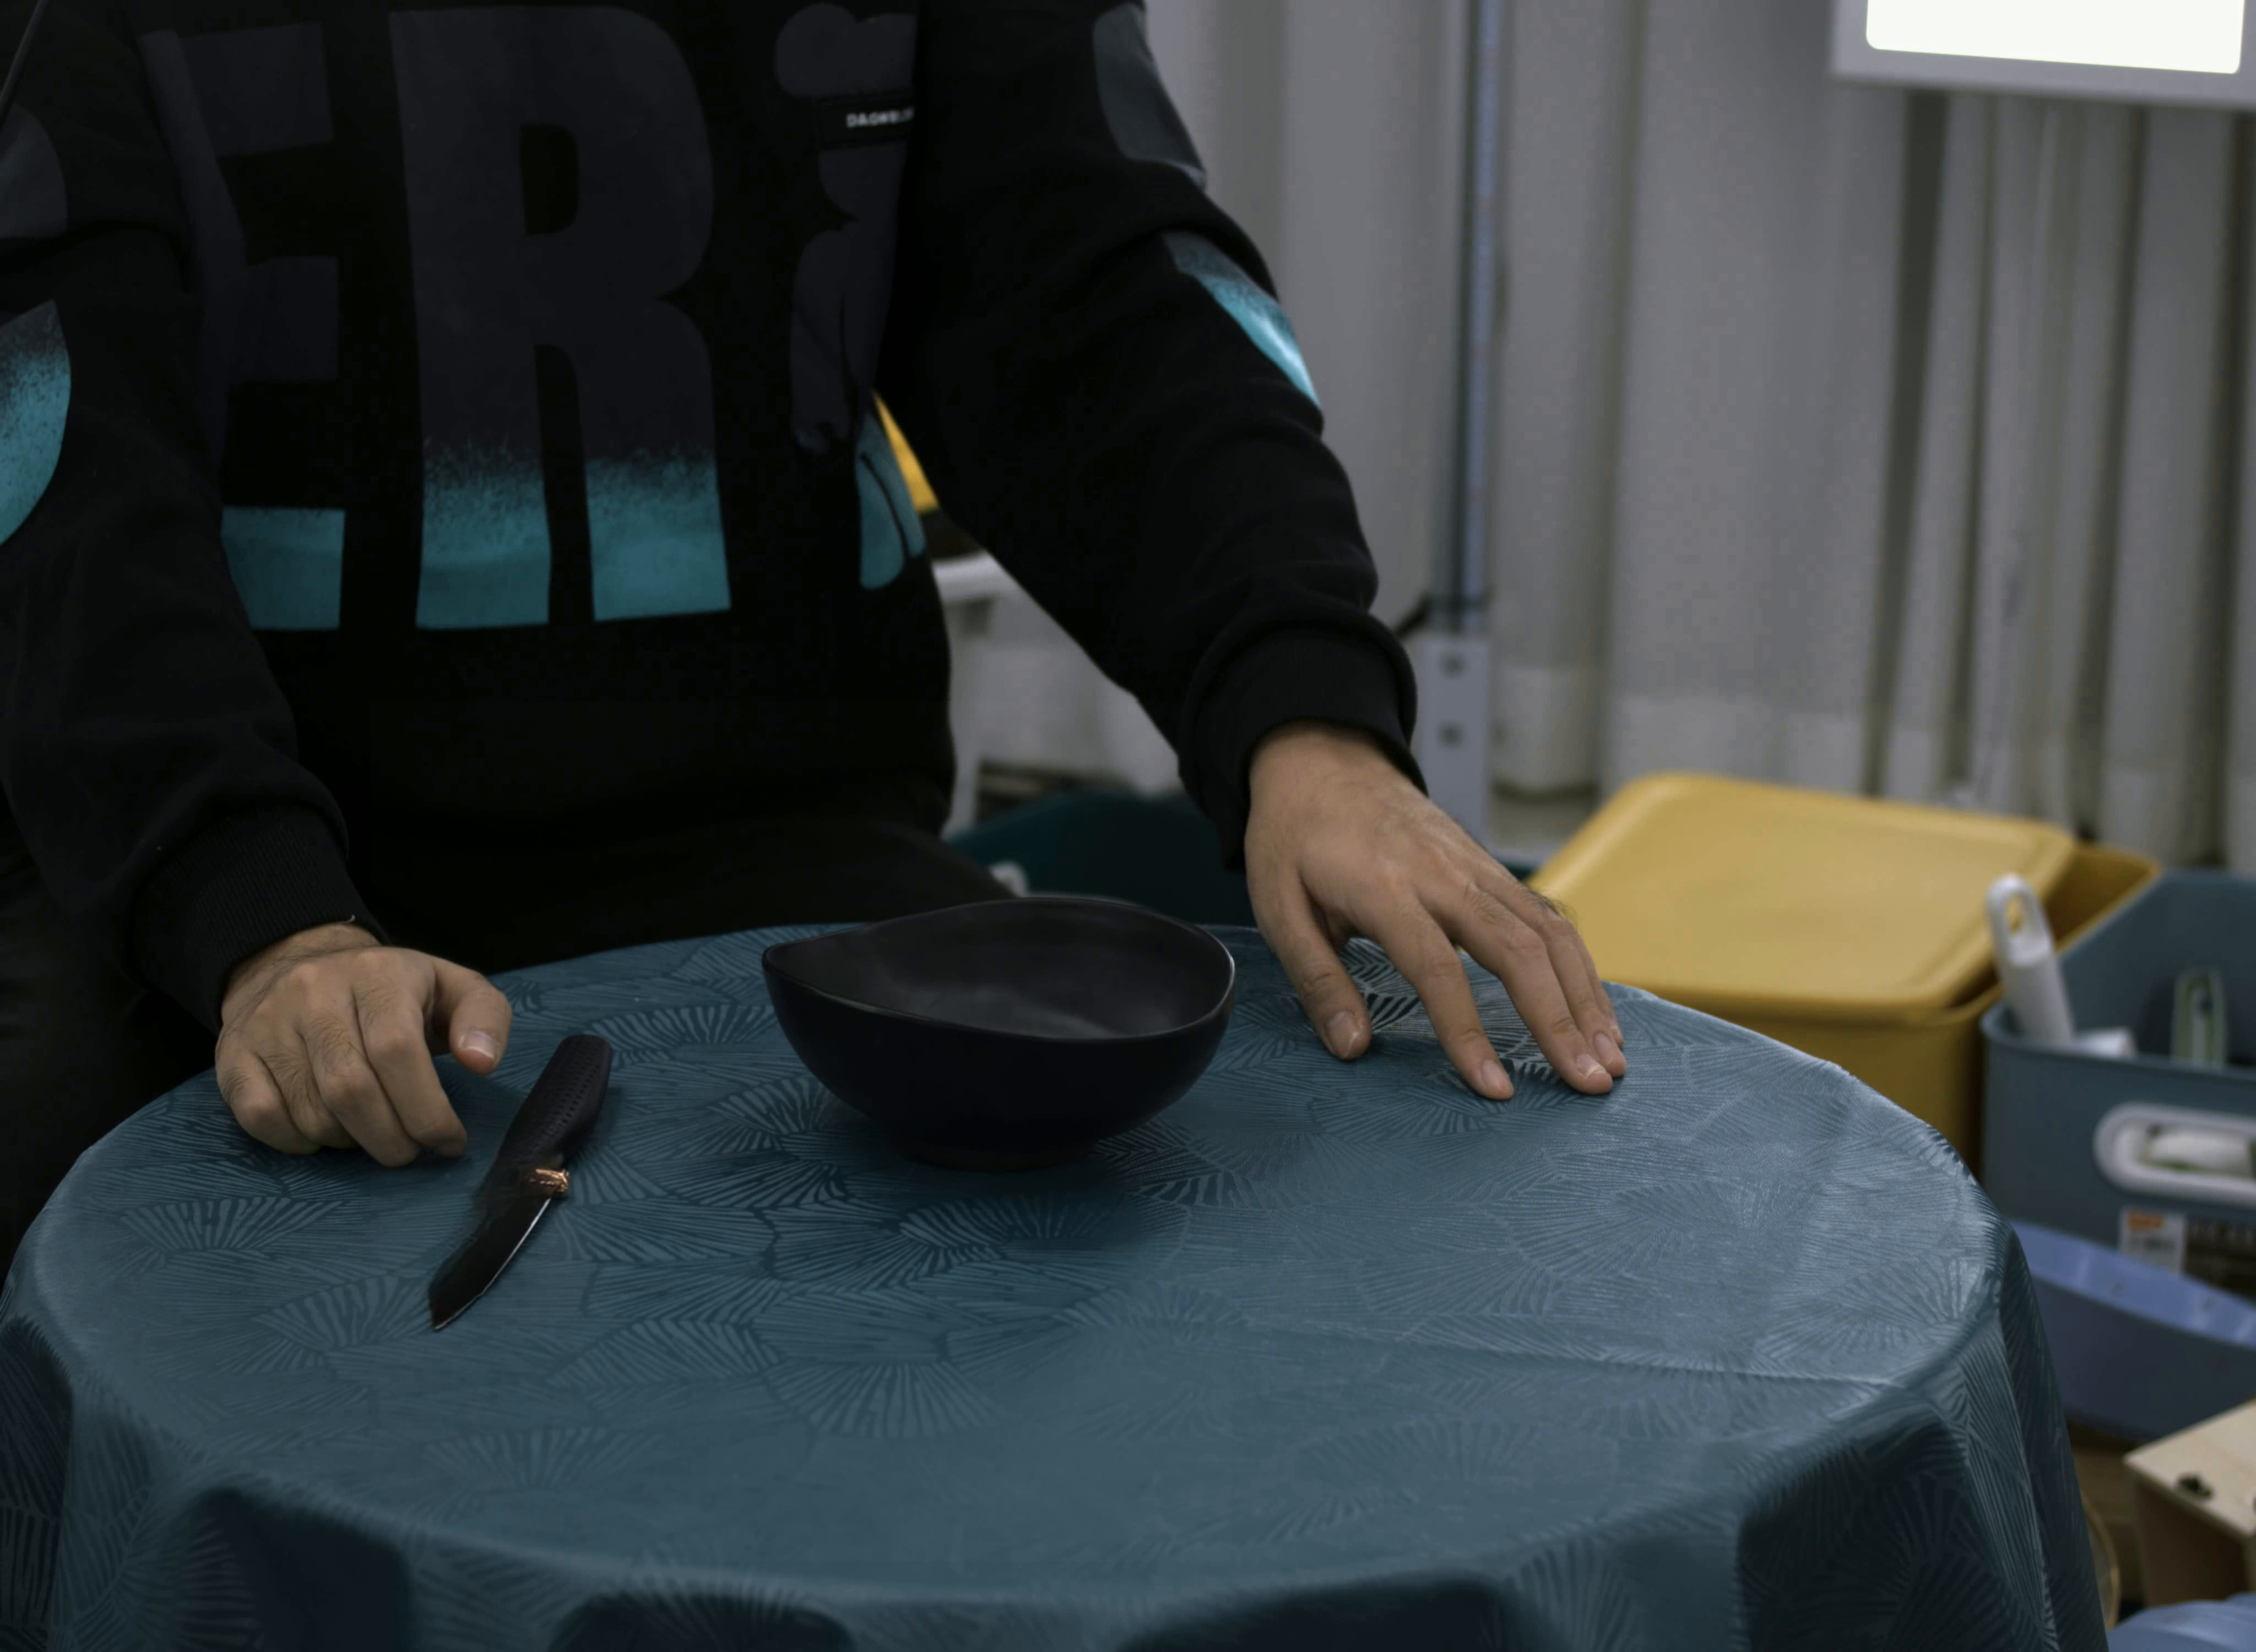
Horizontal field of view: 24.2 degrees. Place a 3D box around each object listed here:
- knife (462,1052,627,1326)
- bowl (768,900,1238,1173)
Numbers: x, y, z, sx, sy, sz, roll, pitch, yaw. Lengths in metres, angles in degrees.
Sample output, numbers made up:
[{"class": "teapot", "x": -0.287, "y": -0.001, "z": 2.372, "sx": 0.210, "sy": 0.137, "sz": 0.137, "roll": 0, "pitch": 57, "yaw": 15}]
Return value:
[{"class": "knife", "x": -0.181, "y": 0.110, "z": 1.604, "sx": 0.026, "sy": 0.017, "sz": 0.224, "roll": -3, "pitch": 16, "yaw": 6}, {"class": "bowl", "x": -0.041, "y": 0.069, "z": 1.656, "sx": 0.138, "sy": 0.067, "sz": 0.168, "roll": -13, "pitch": 18, "yaw": -40}]
